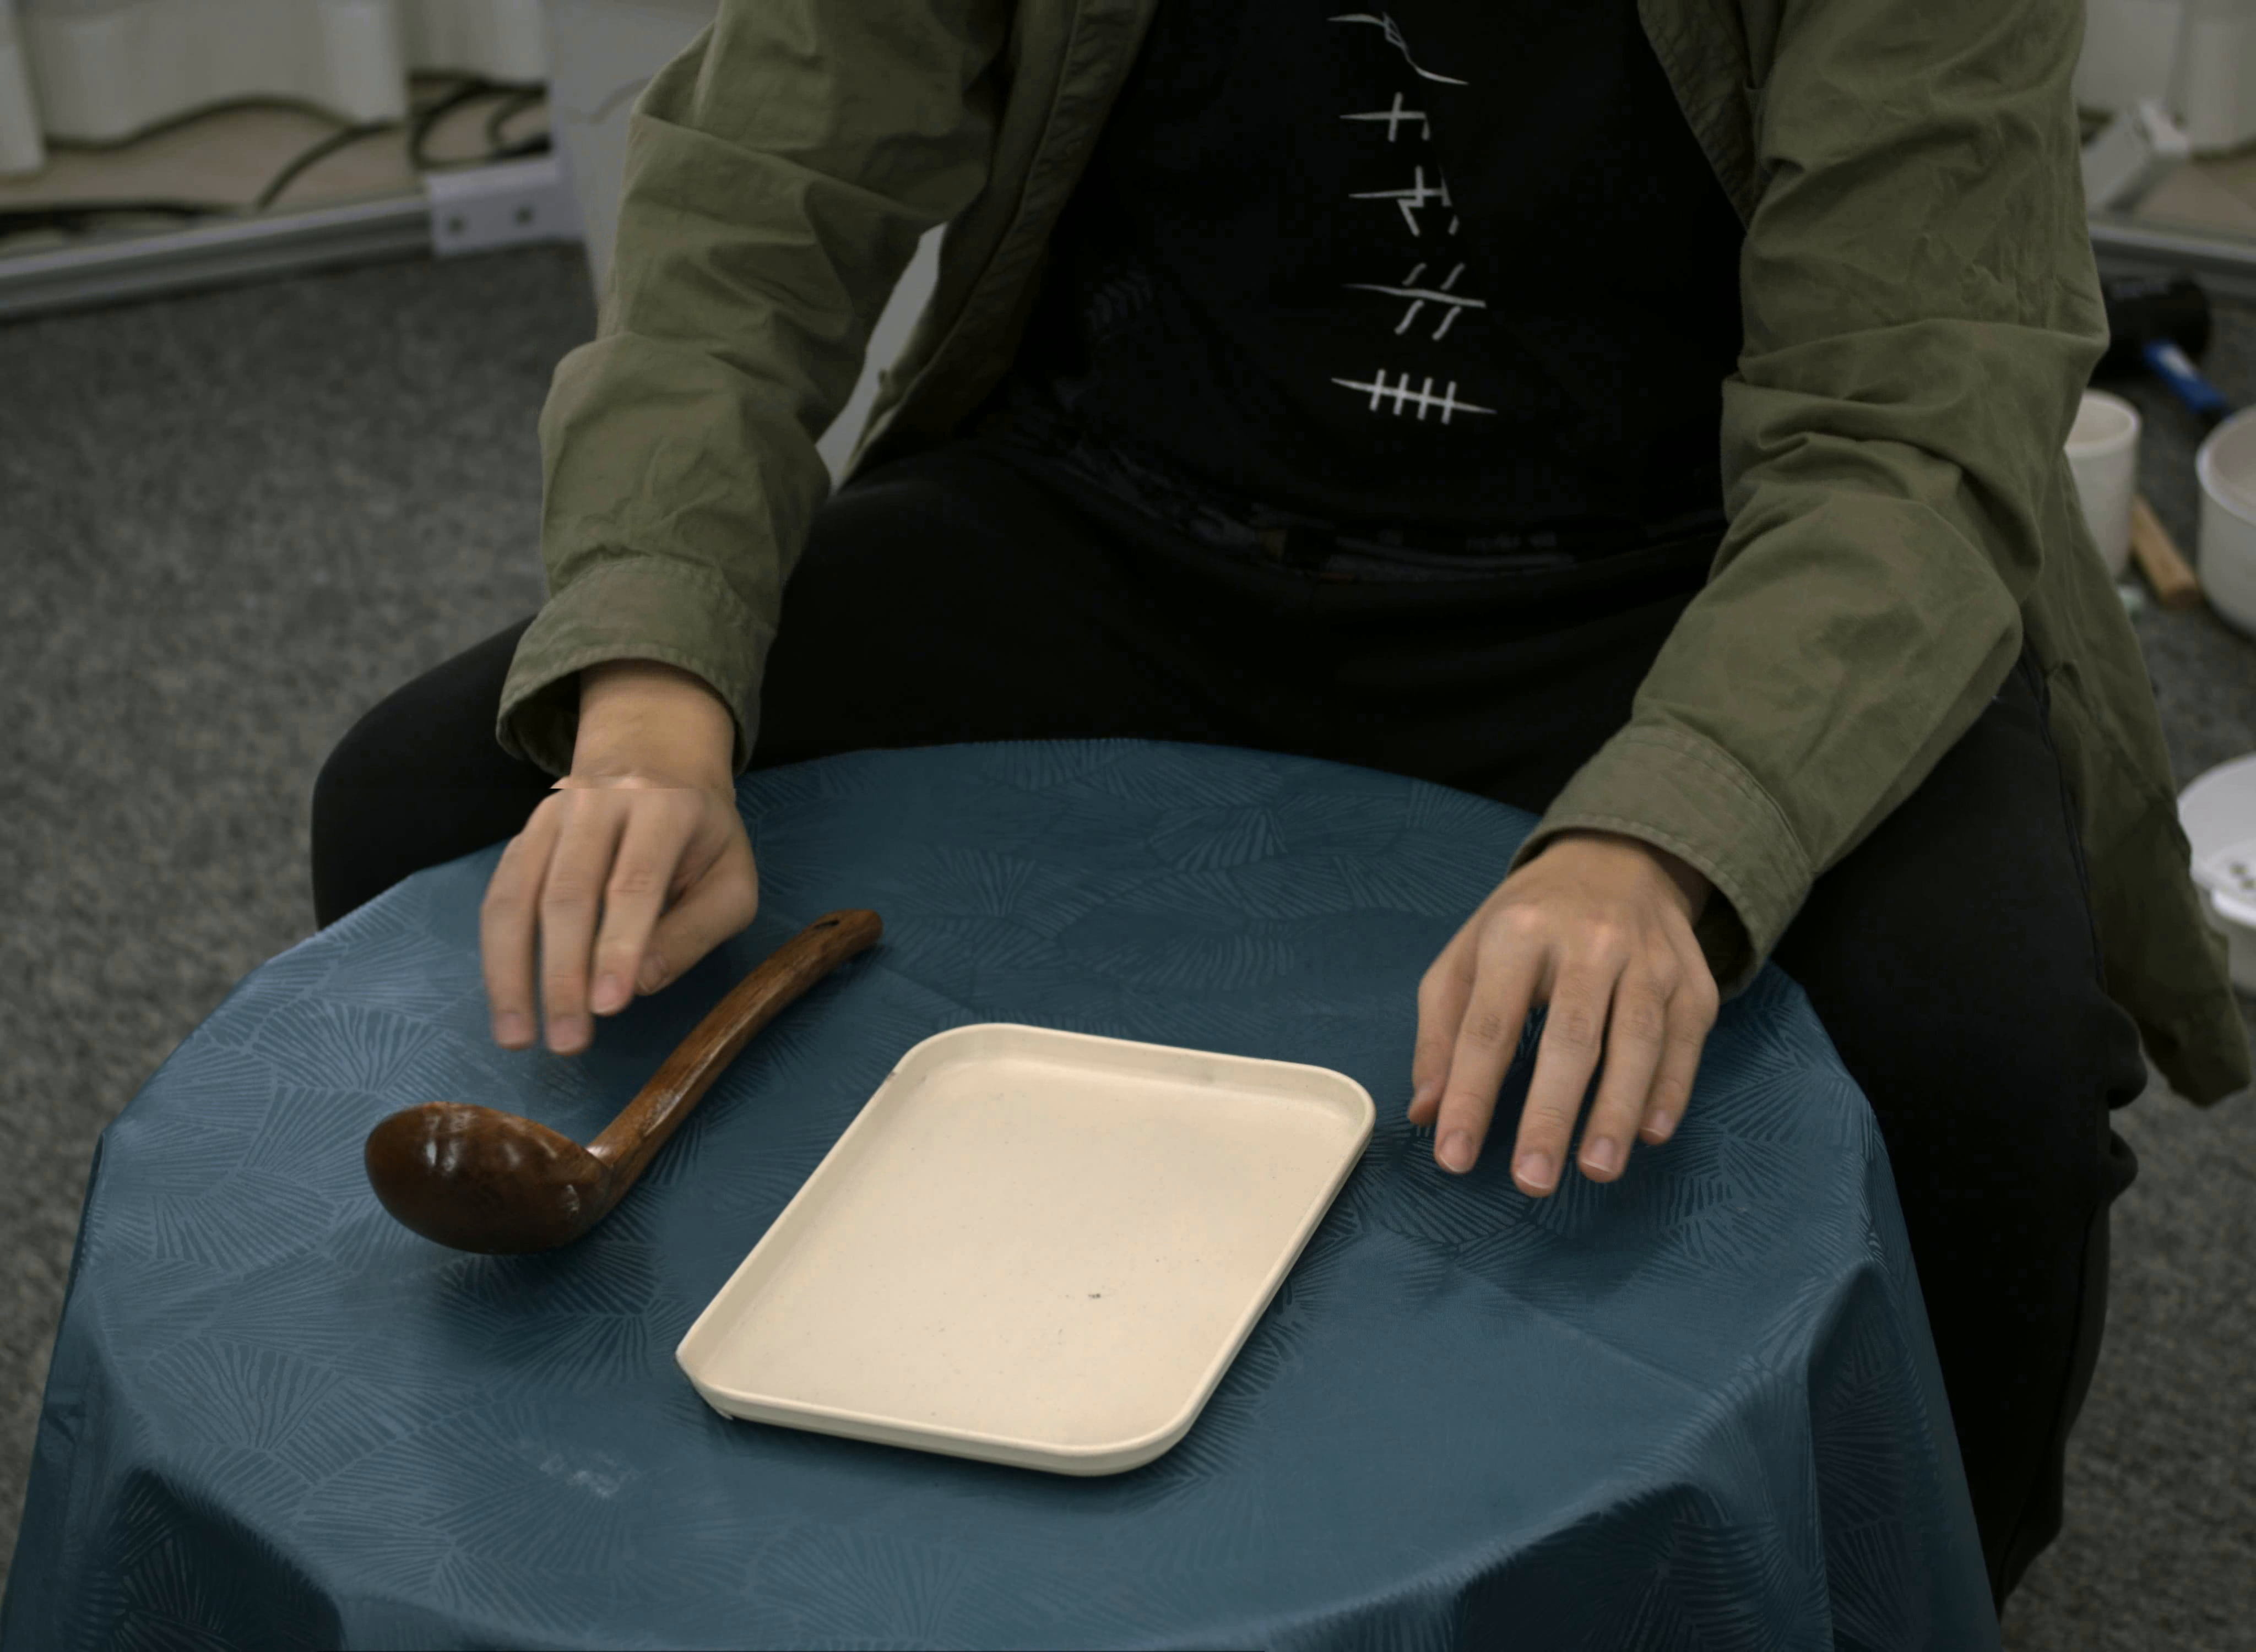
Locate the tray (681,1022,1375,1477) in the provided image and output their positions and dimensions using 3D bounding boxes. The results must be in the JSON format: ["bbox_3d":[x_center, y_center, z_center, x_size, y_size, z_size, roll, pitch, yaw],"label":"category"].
[{"bbox_3d":[-0.029,0.135,1.814,0.170,0.017,0.244,8,29,19],"label":"tray"}]

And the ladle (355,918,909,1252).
[{"bbox_3d":[-0.161,0.067,1.898,0.081,0.076,0.278,-1,25,31],"label":"ladle"}]
